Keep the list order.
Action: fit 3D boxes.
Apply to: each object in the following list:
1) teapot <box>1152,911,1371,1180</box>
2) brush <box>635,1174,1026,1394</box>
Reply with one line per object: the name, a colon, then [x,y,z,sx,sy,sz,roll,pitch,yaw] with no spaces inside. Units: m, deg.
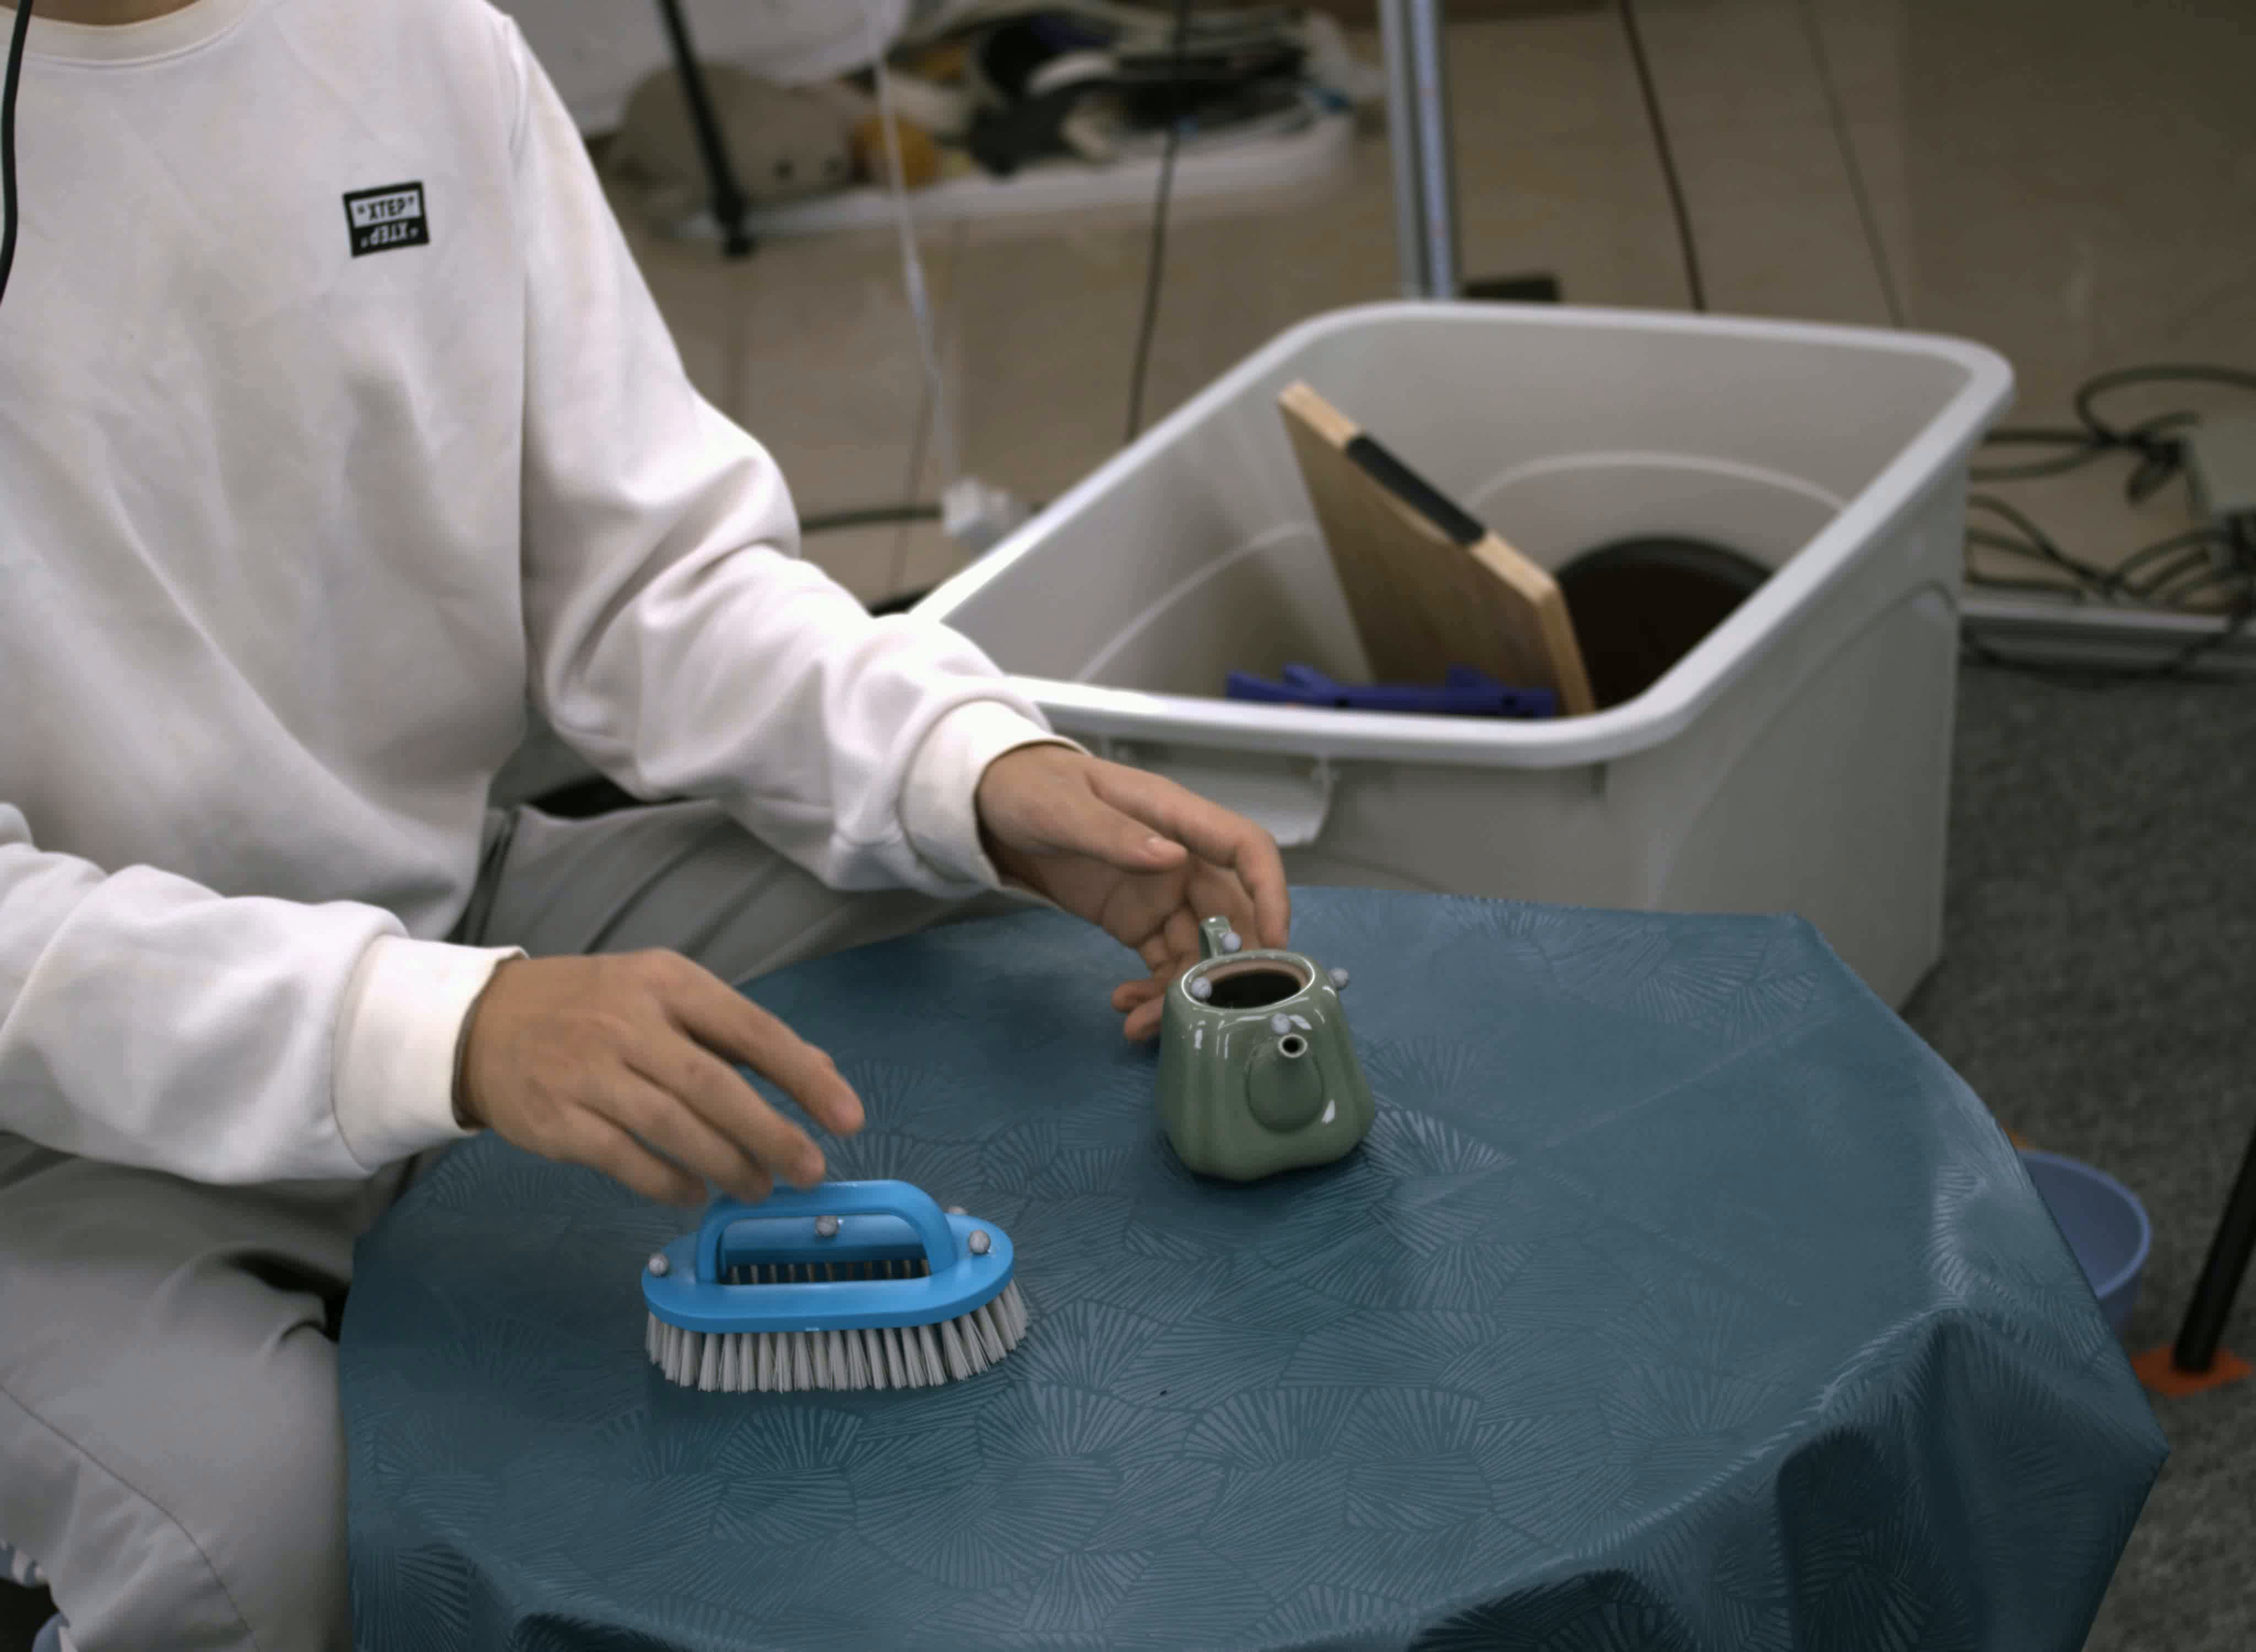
teapot: [0.049,0.087,2.157,0.079,0.076,0.130,-11,25,-10]
brush: [-0.111,0.157,2.055,0.141,0.065,0.083,-3,30,11]
